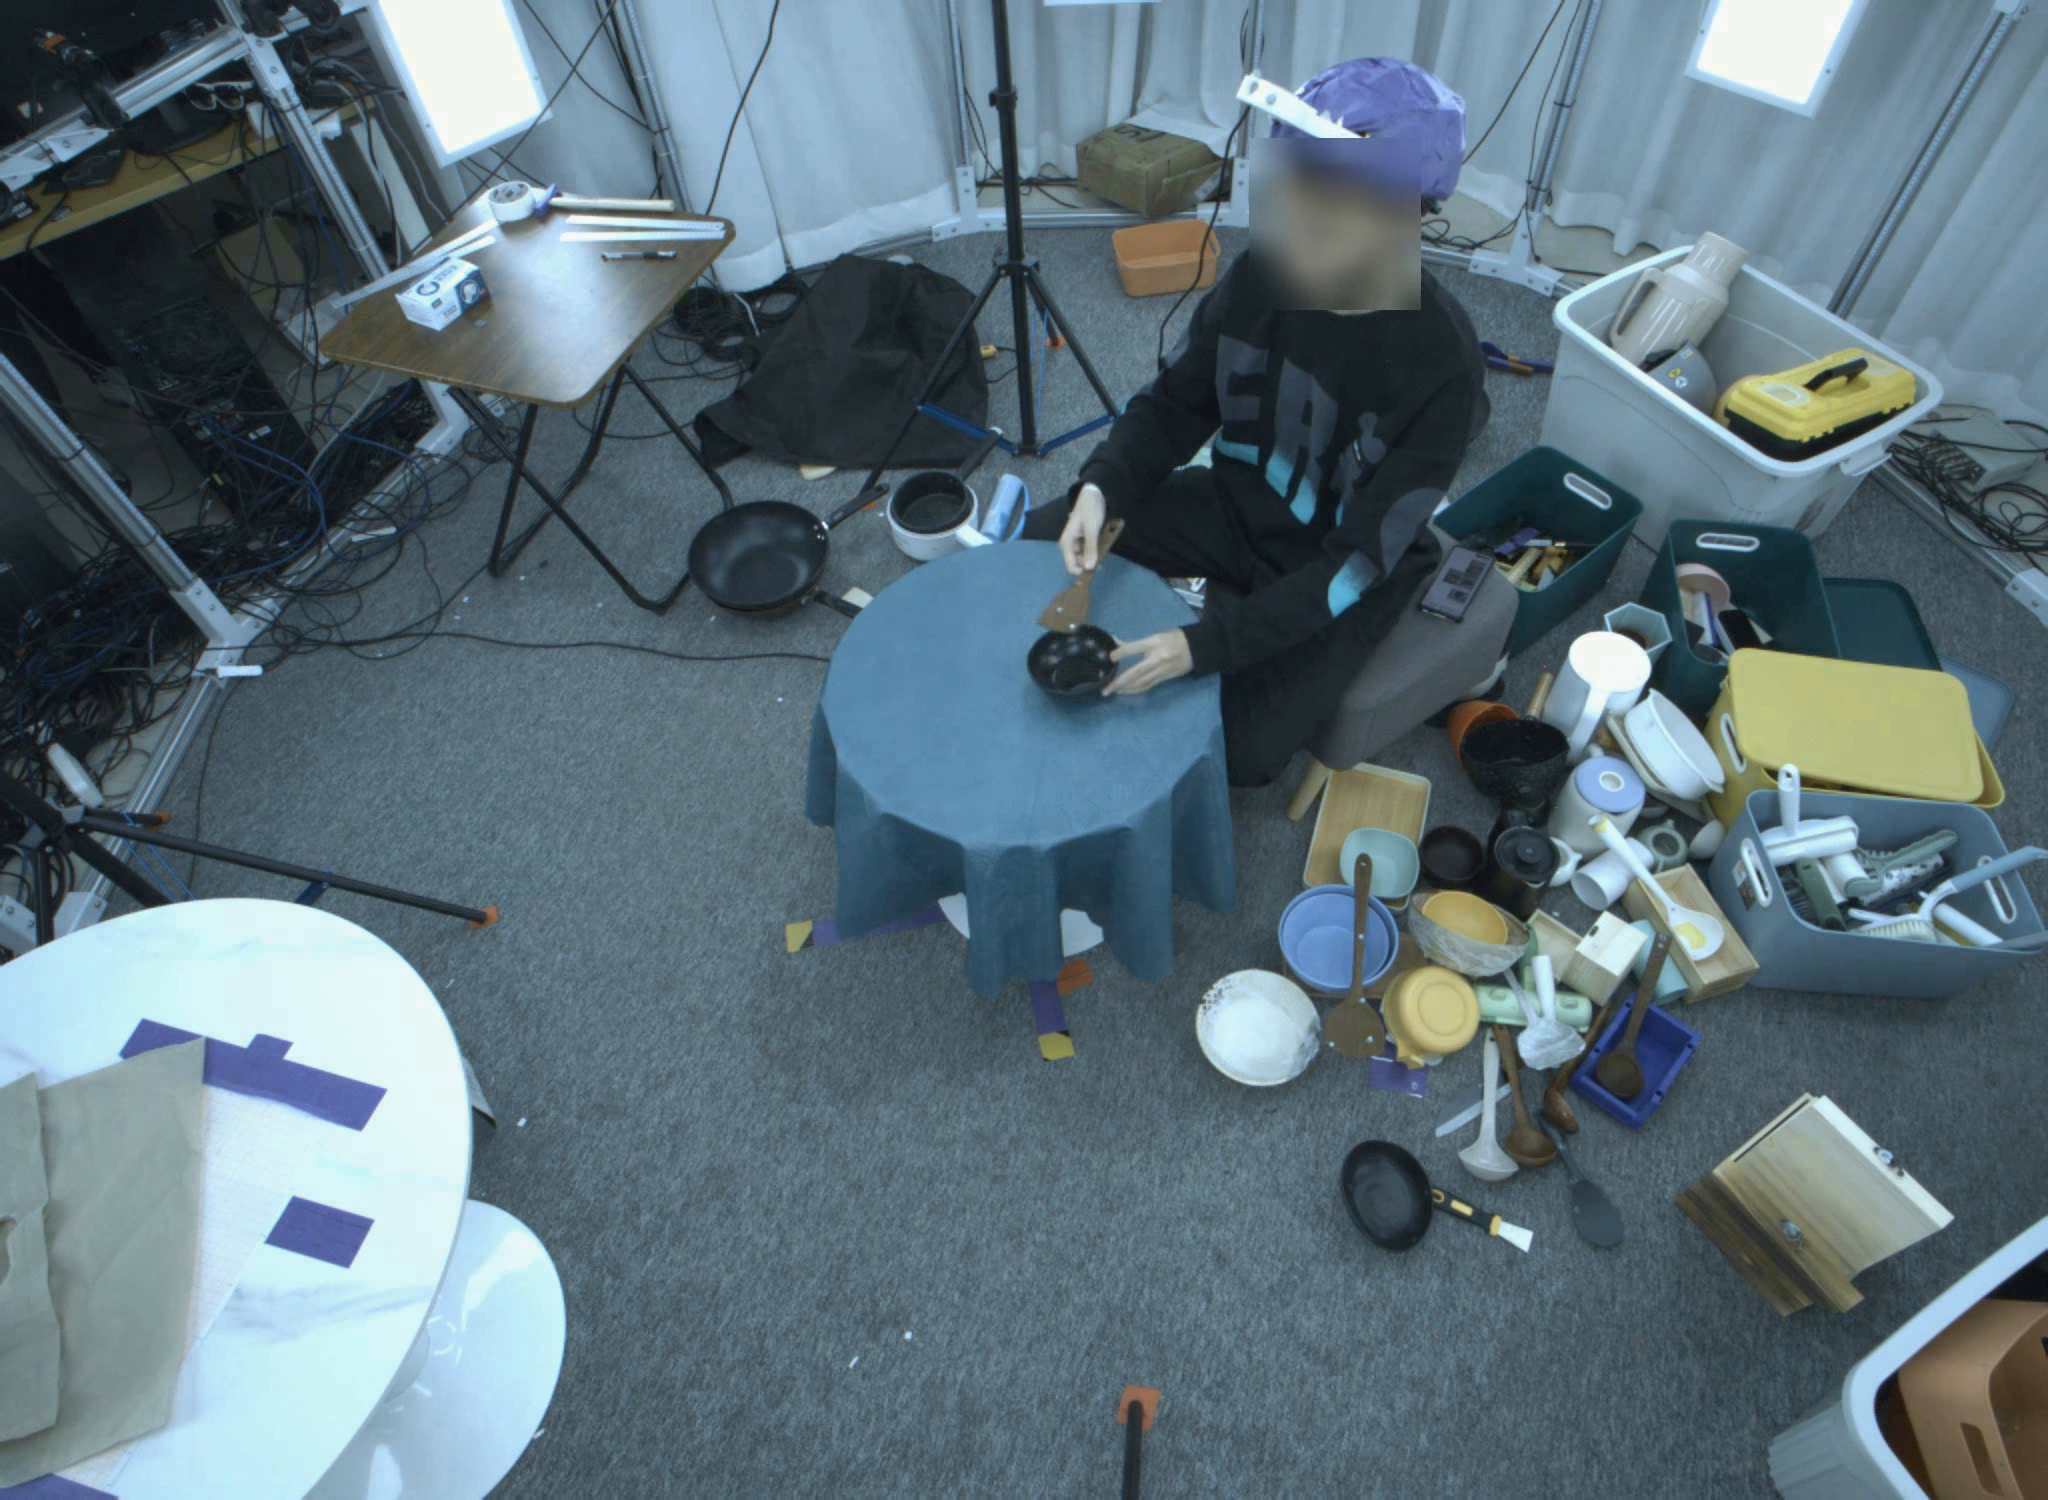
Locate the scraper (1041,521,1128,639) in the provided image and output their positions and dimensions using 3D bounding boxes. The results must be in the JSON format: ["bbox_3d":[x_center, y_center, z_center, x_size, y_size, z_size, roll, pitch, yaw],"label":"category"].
[{"bbox_3d":[0.099,-0.254,1.823,0.074,0.011,0.211,20,73,29],"label":"scraper"}]

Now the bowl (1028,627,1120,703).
[{"bbox_3d":[0.077,-0.119,1.840,0.139,0.050,0.138,-5,50,7],"label":"bowl"}]
